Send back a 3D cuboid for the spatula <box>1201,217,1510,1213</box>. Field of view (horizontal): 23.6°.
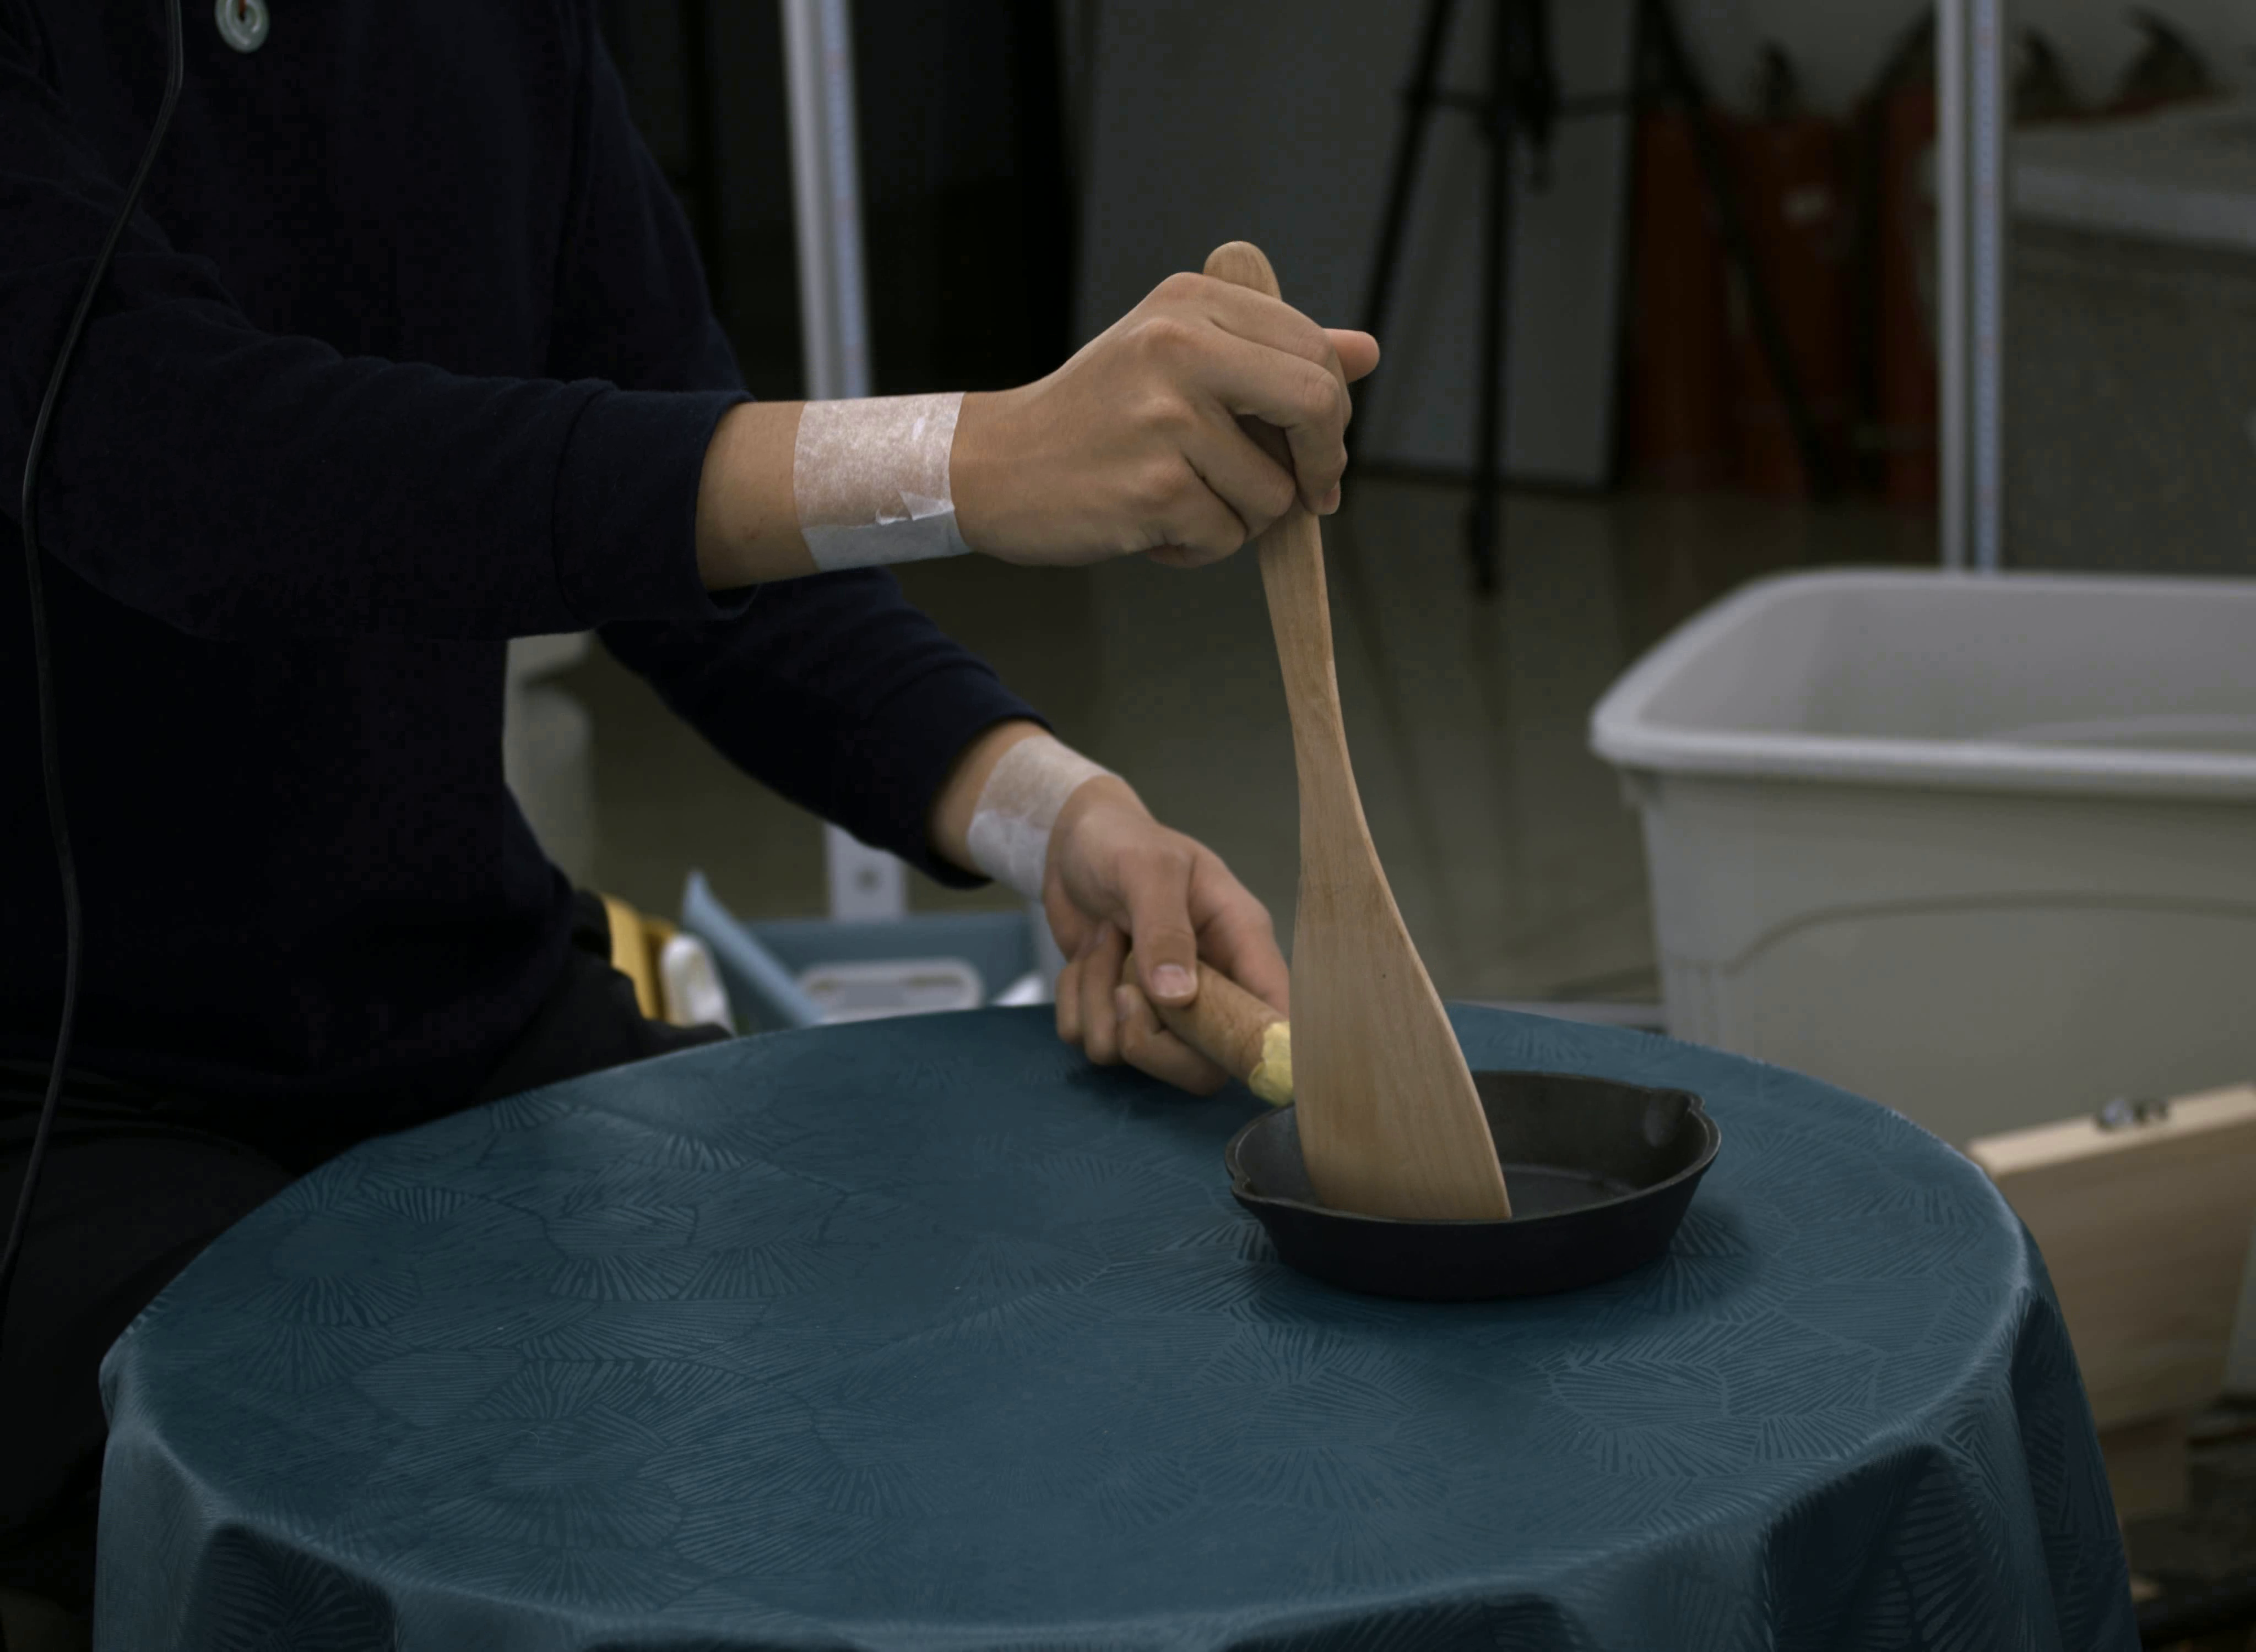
[{"bbox_3d":[0.061,-0.023,1.663,0.080,0.331,0.016,-4,9,42],"label":"spatula"}]

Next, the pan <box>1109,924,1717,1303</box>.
[{"bbox_3d":[0.072,0.090,1.769,0.165,0.050,0.327,-10,16,-23],"label":"pan"}]
